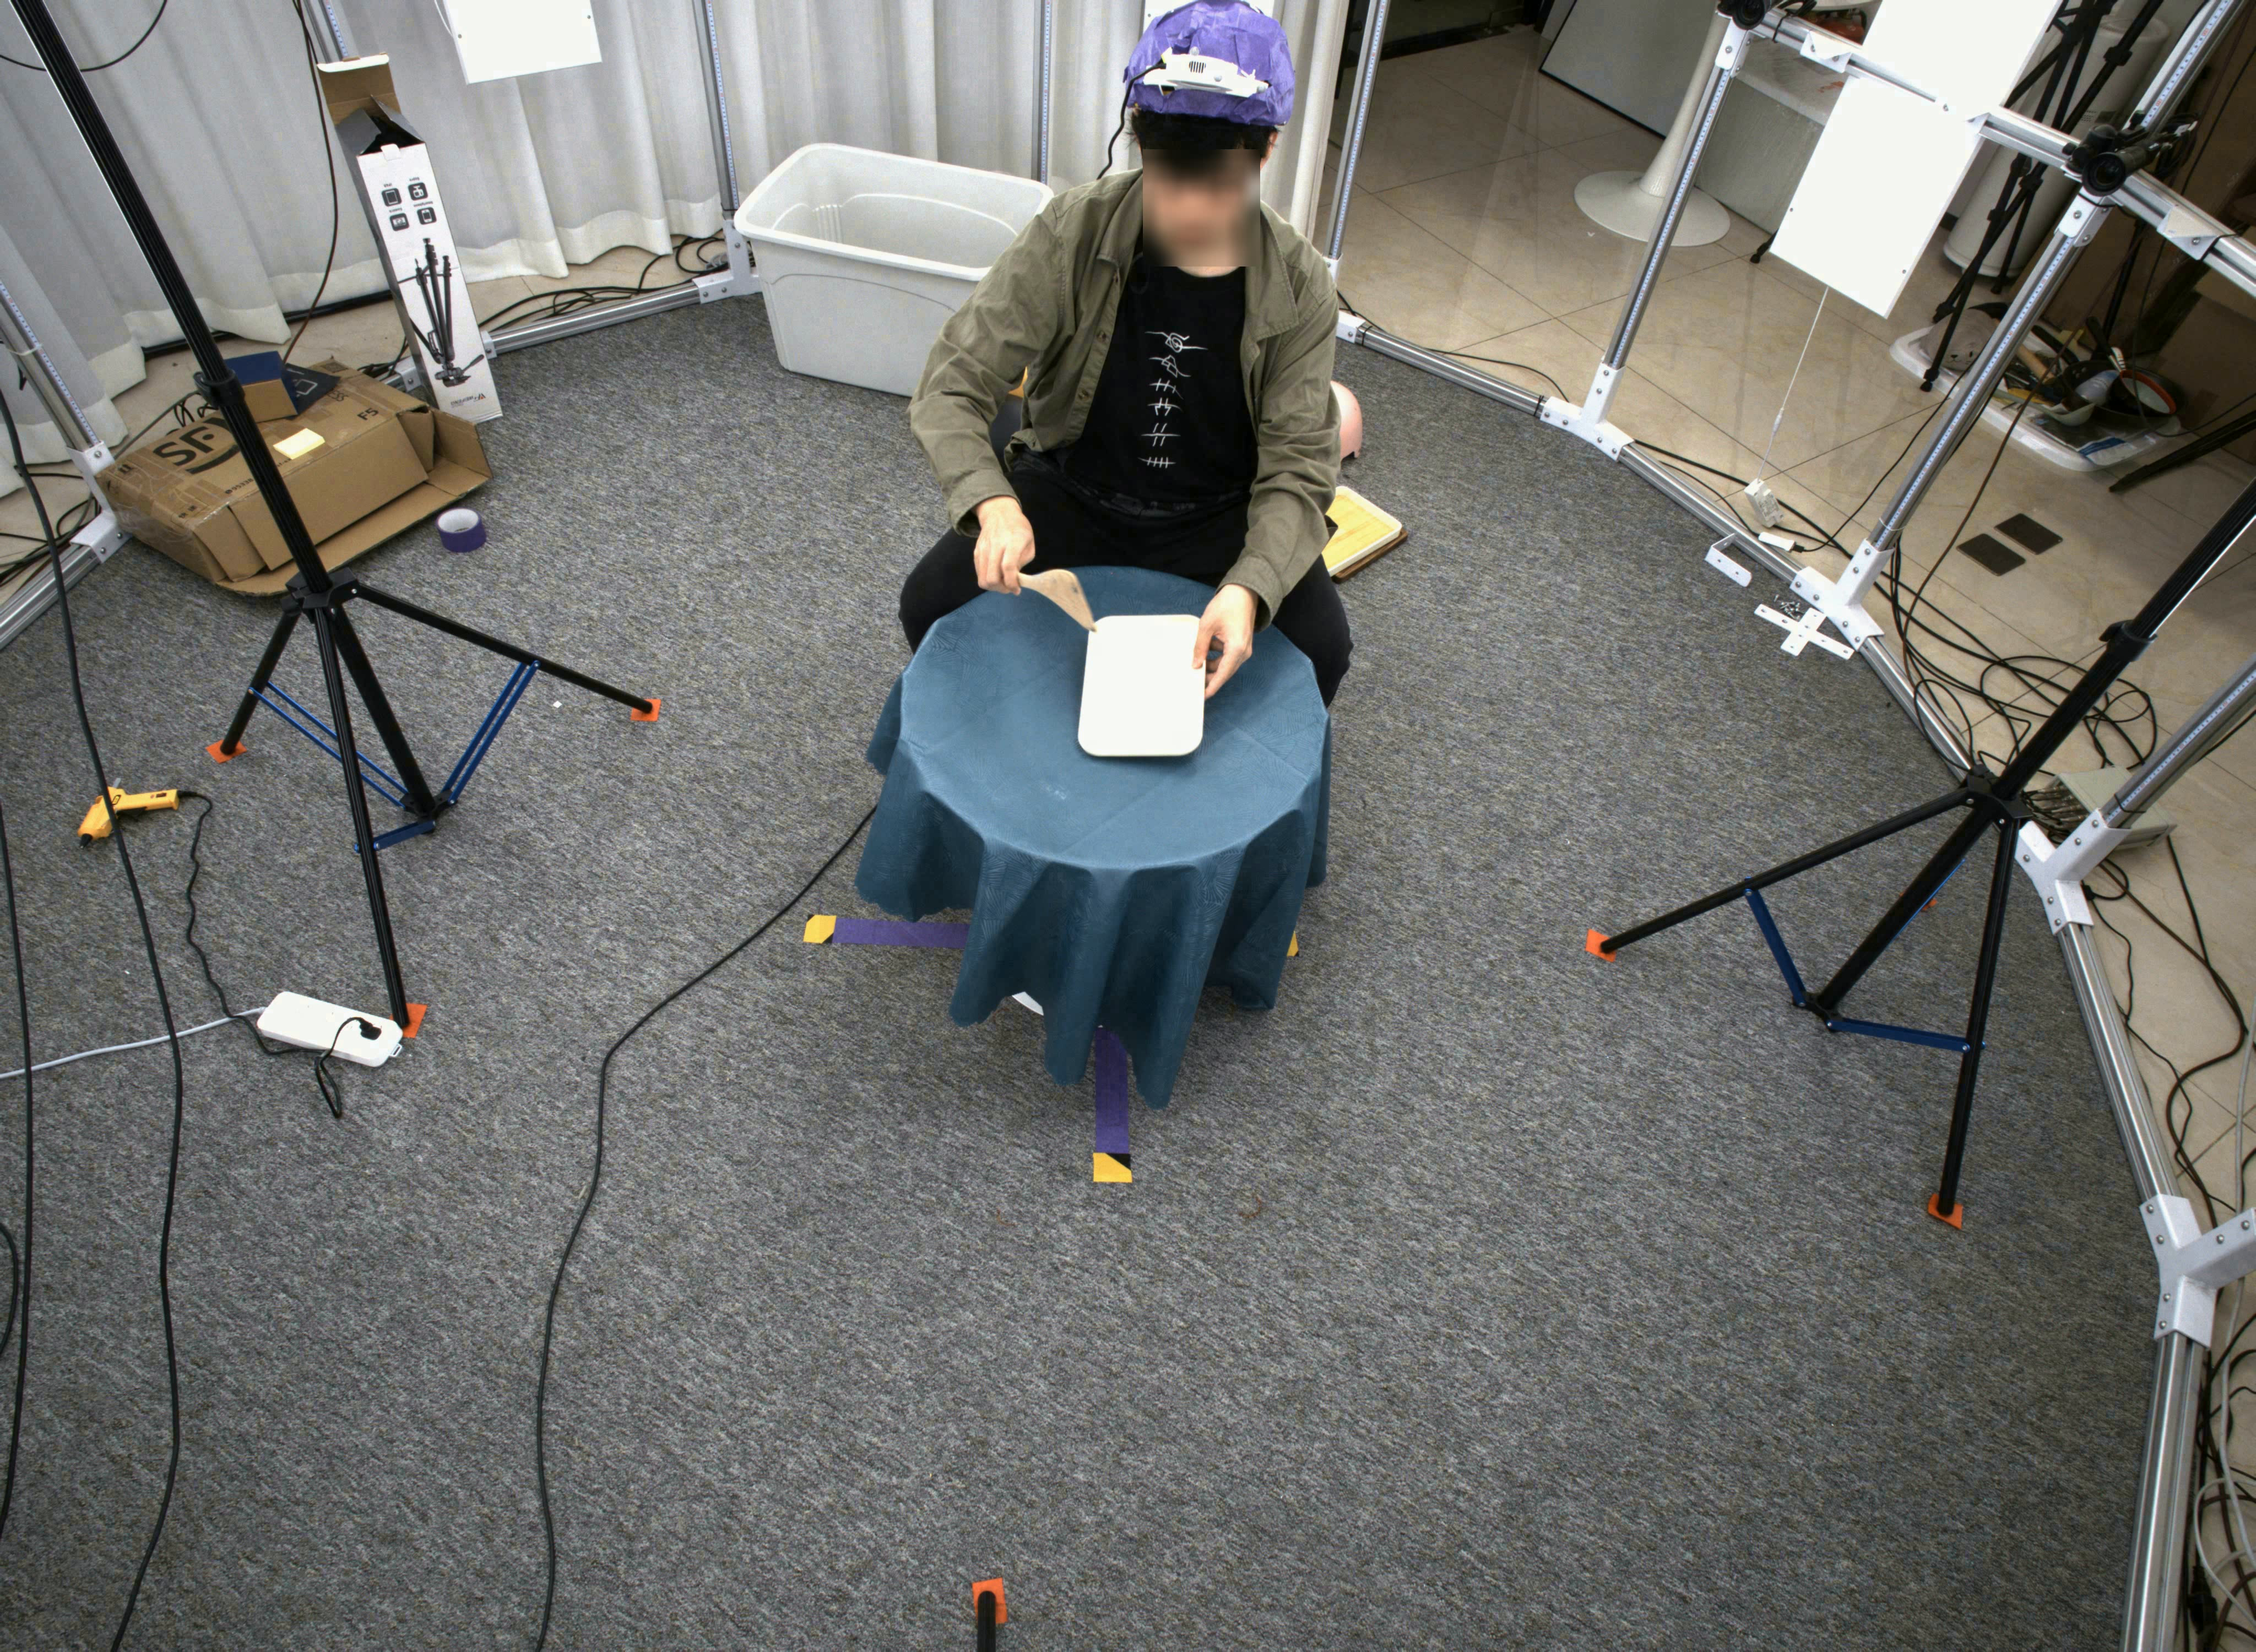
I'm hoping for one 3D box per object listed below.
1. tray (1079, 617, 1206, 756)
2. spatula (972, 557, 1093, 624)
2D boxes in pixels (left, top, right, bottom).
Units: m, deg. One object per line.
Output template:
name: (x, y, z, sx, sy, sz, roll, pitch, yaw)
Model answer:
tray: (0.022, -0.195, 1.787, 0.171, 0.017, 0.245, 1, 57, 6)
spatula: (-0.132, -0.318, 1.658, 0.016, 0.078, 0.332, -33, 30, -19)
